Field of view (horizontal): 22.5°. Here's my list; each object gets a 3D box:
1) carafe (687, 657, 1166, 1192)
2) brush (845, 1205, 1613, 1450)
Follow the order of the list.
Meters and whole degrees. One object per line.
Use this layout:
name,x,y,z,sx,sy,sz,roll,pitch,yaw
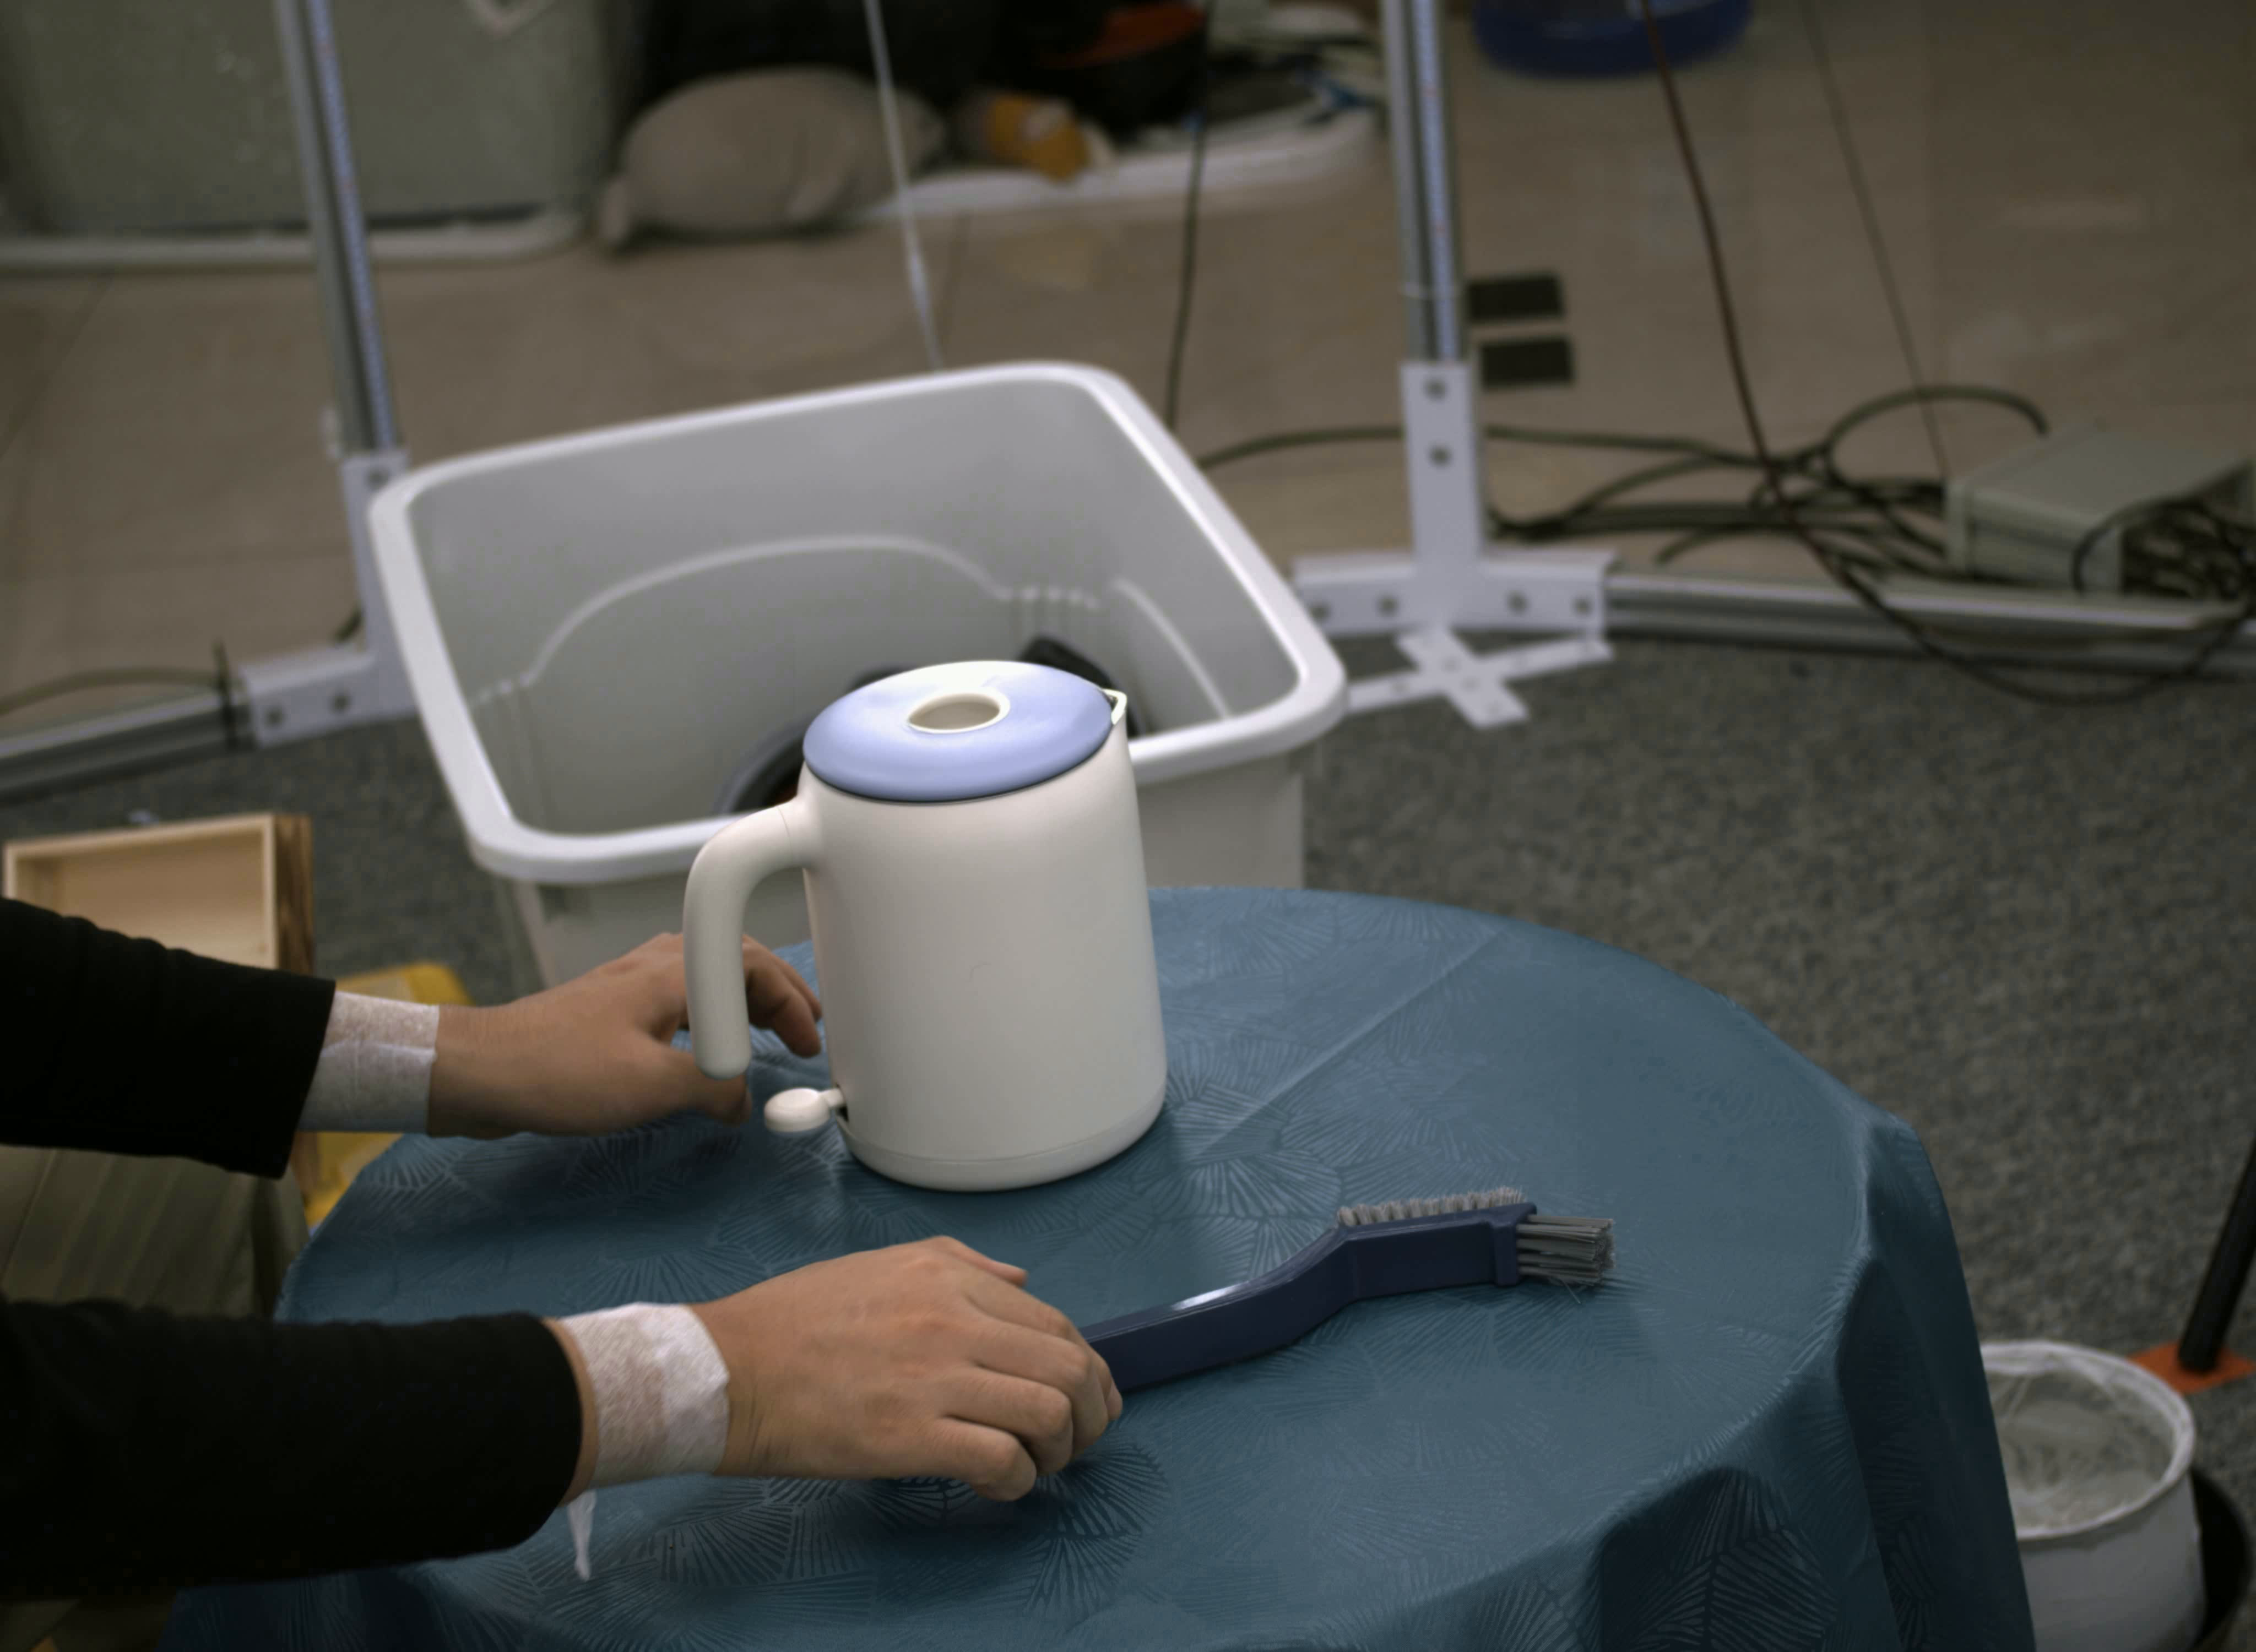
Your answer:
carafe,-0.079,0.044,2.166,0.190,0.185,0.130,-16,27,-17
brush,0.035,0.179,2.017,0.272,0.034,0.094,-17,30,-24
